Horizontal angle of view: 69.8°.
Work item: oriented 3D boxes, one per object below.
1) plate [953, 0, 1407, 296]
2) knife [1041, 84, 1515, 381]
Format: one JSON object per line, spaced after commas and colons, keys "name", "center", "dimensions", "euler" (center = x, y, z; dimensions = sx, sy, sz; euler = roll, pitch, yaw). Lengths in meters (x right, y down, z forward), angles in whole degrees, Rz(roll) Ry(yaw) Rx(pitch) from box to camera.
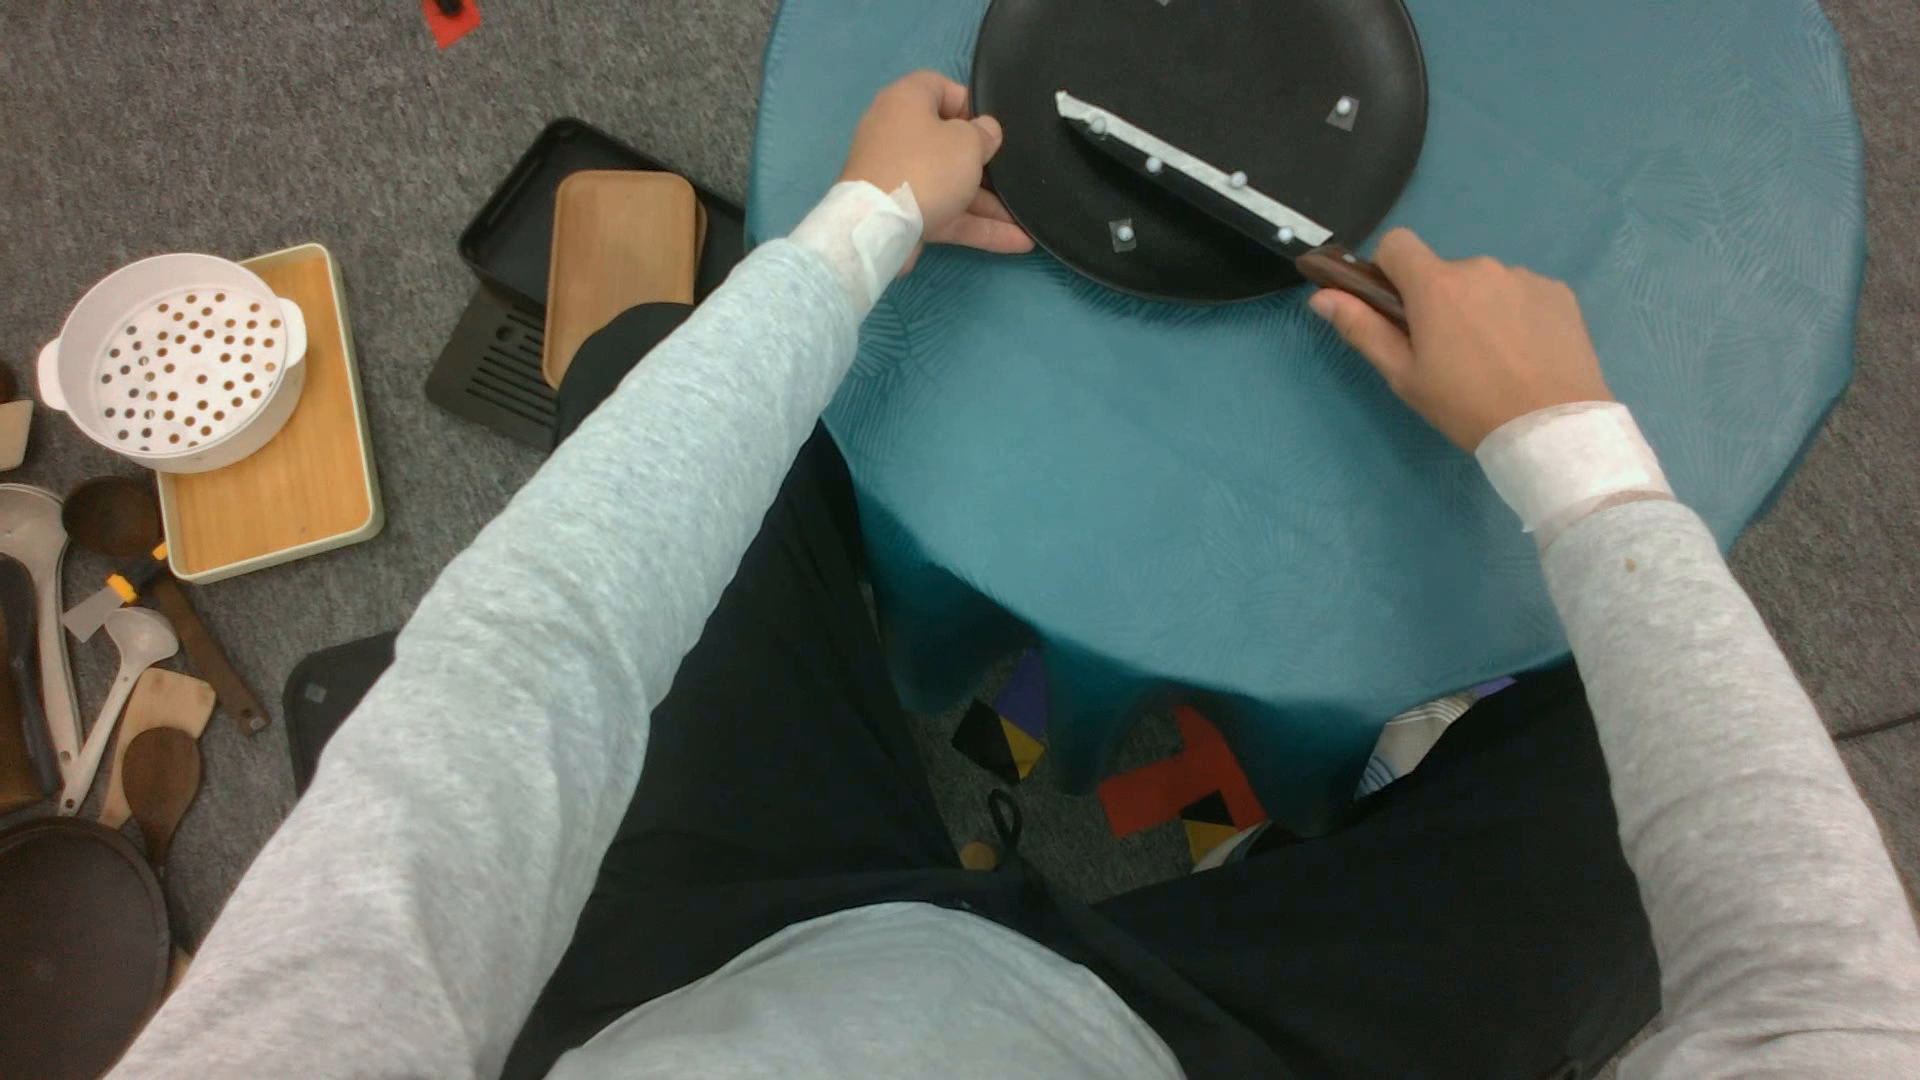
{"name": "plate", "center": [0.118, -0.244, 0.748], "dimensions": [0.244, 0.023, 0.245], "euler": [0, 78, 1]}
{"name": "knife", "center": [0.157, -0.165, 0.710], "dimensions": [0.289, 0.020, 0.050], "euler": [36, 43, 15]}
